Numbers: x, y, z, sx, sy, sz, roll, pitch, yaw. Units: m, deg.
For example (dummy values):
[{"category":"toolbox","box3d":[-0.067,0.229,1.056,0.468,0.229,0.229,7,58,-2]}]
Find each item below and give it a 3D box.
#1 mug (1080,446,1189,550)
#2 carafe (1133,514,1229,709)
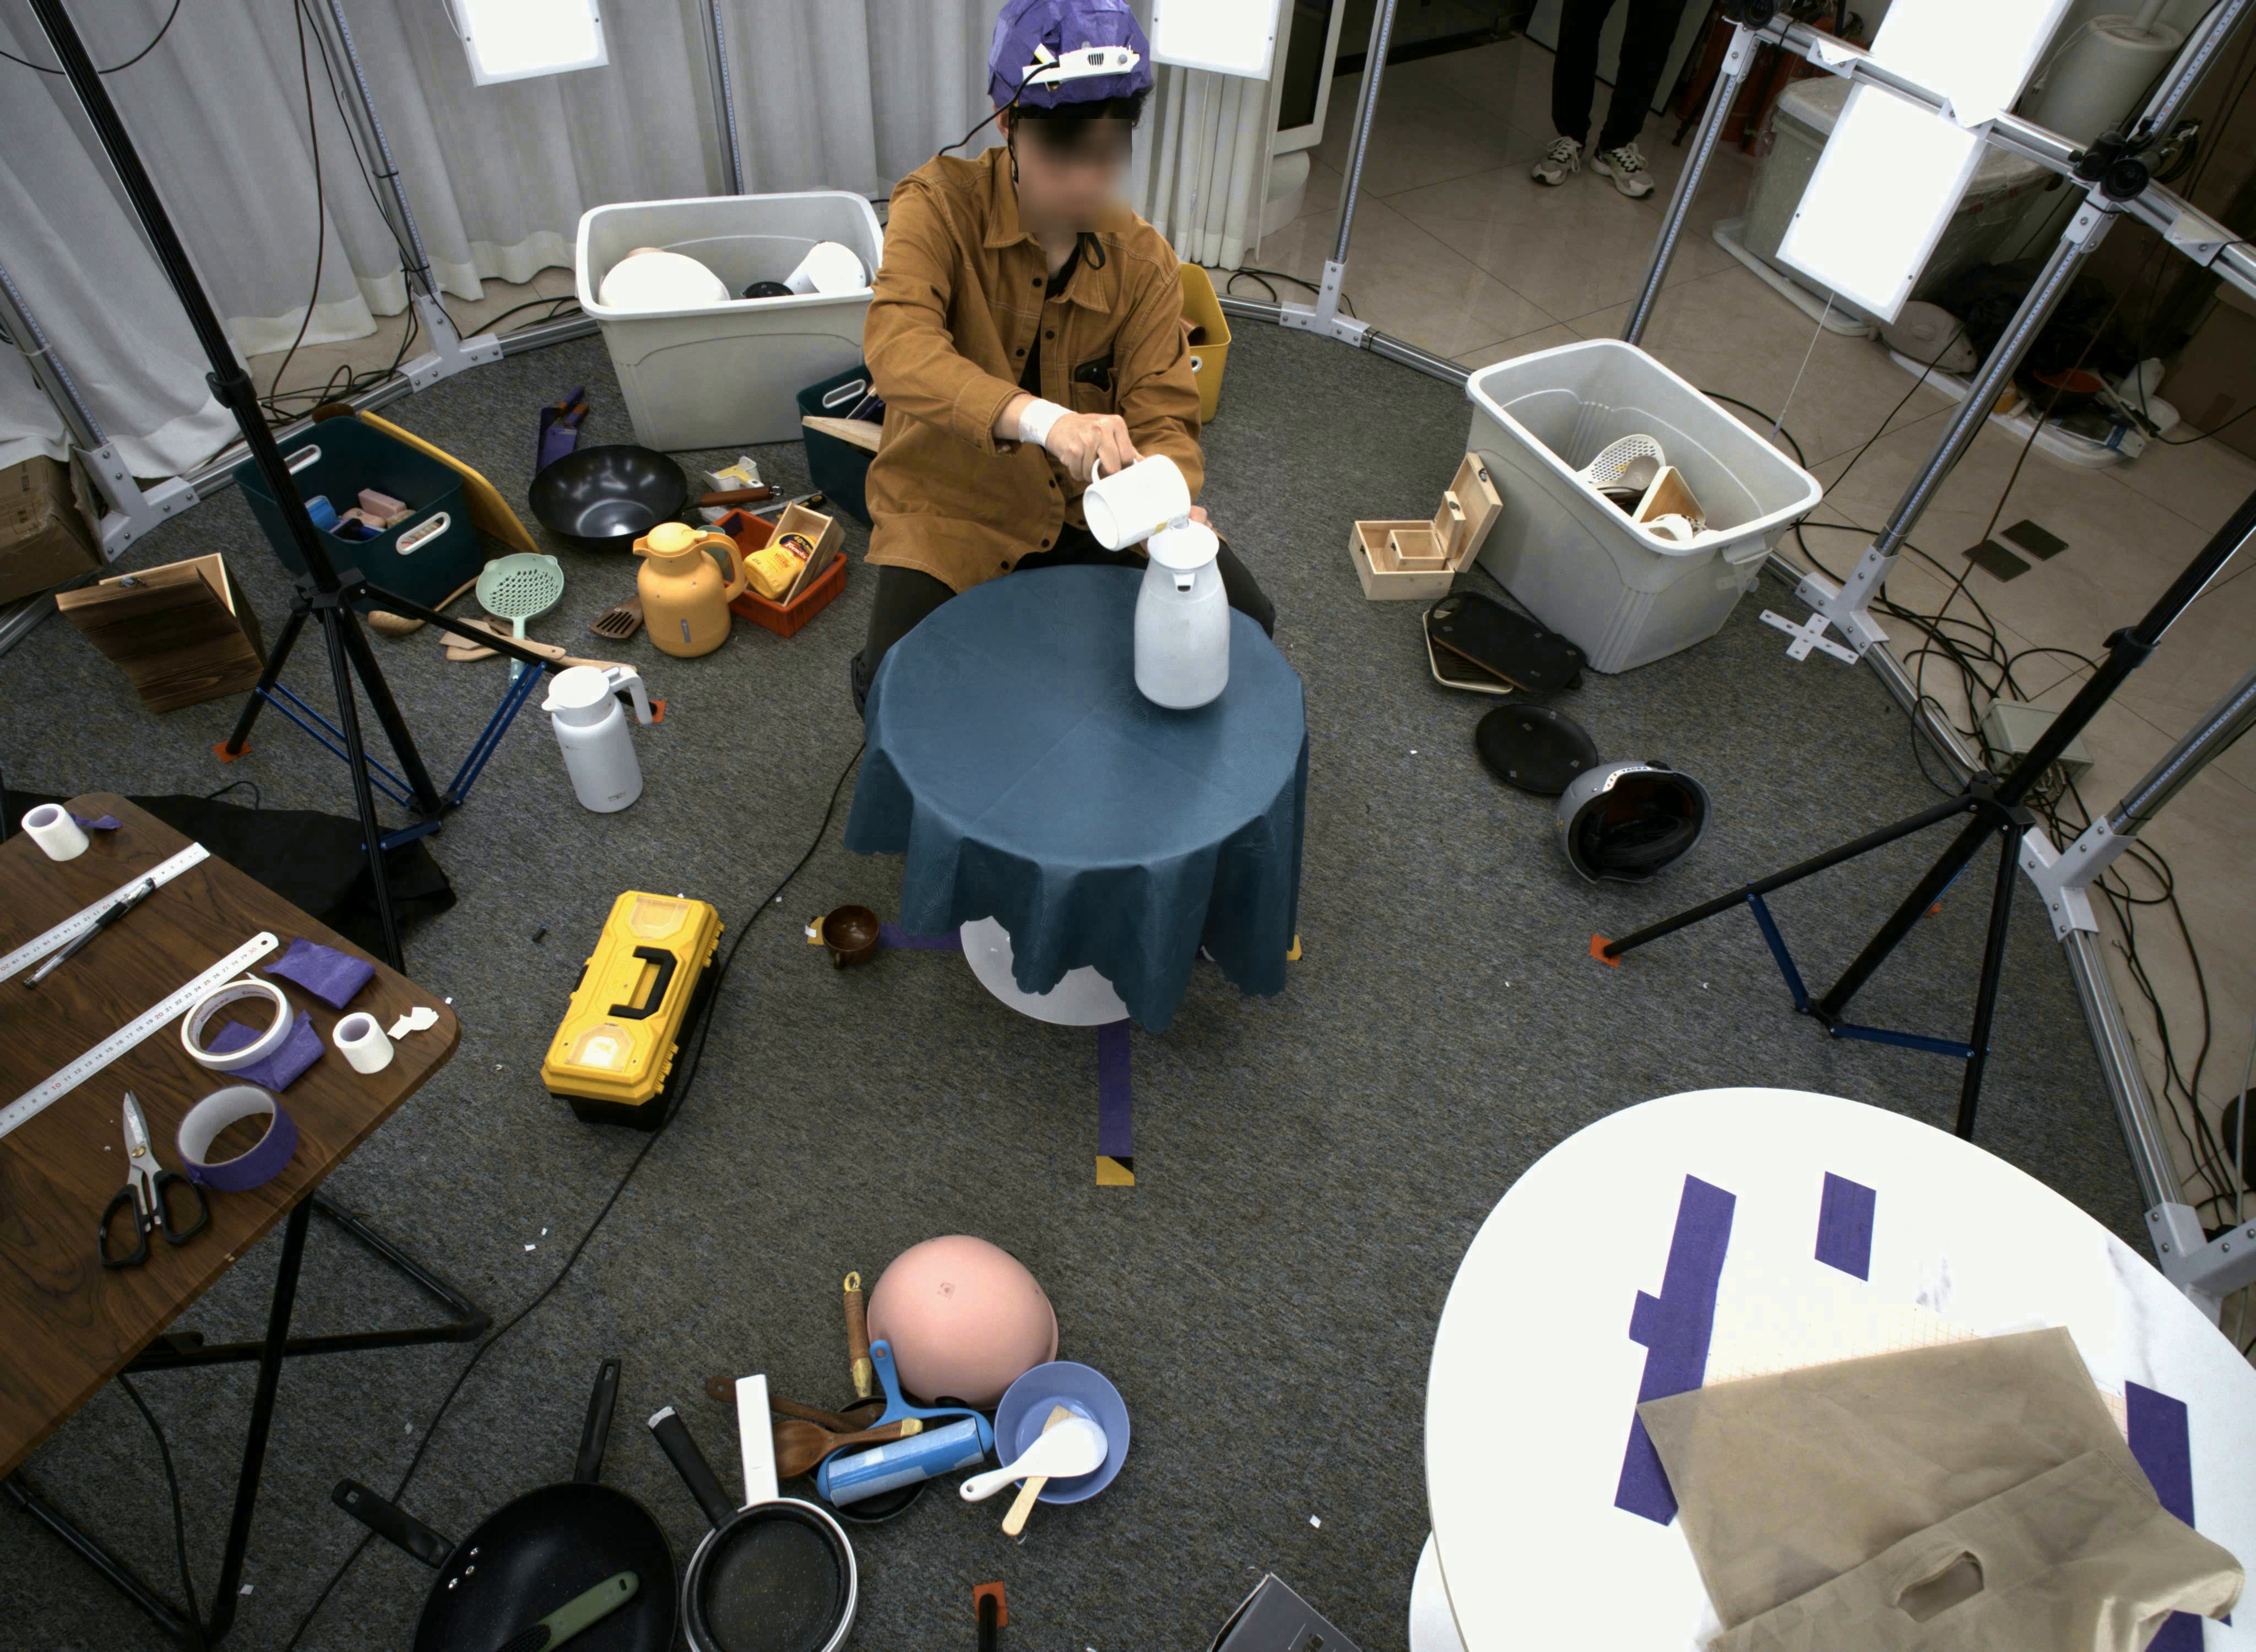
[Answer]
[{"category":"mug","box3d":[-0.002,-0.396,1.528,0.102,0.083,0.119,-29,74,-21]},{"category":"carafe","box3d":[0.069,-0.303,1.729,0.132,0.242,0.172,-3,51,1]}]
